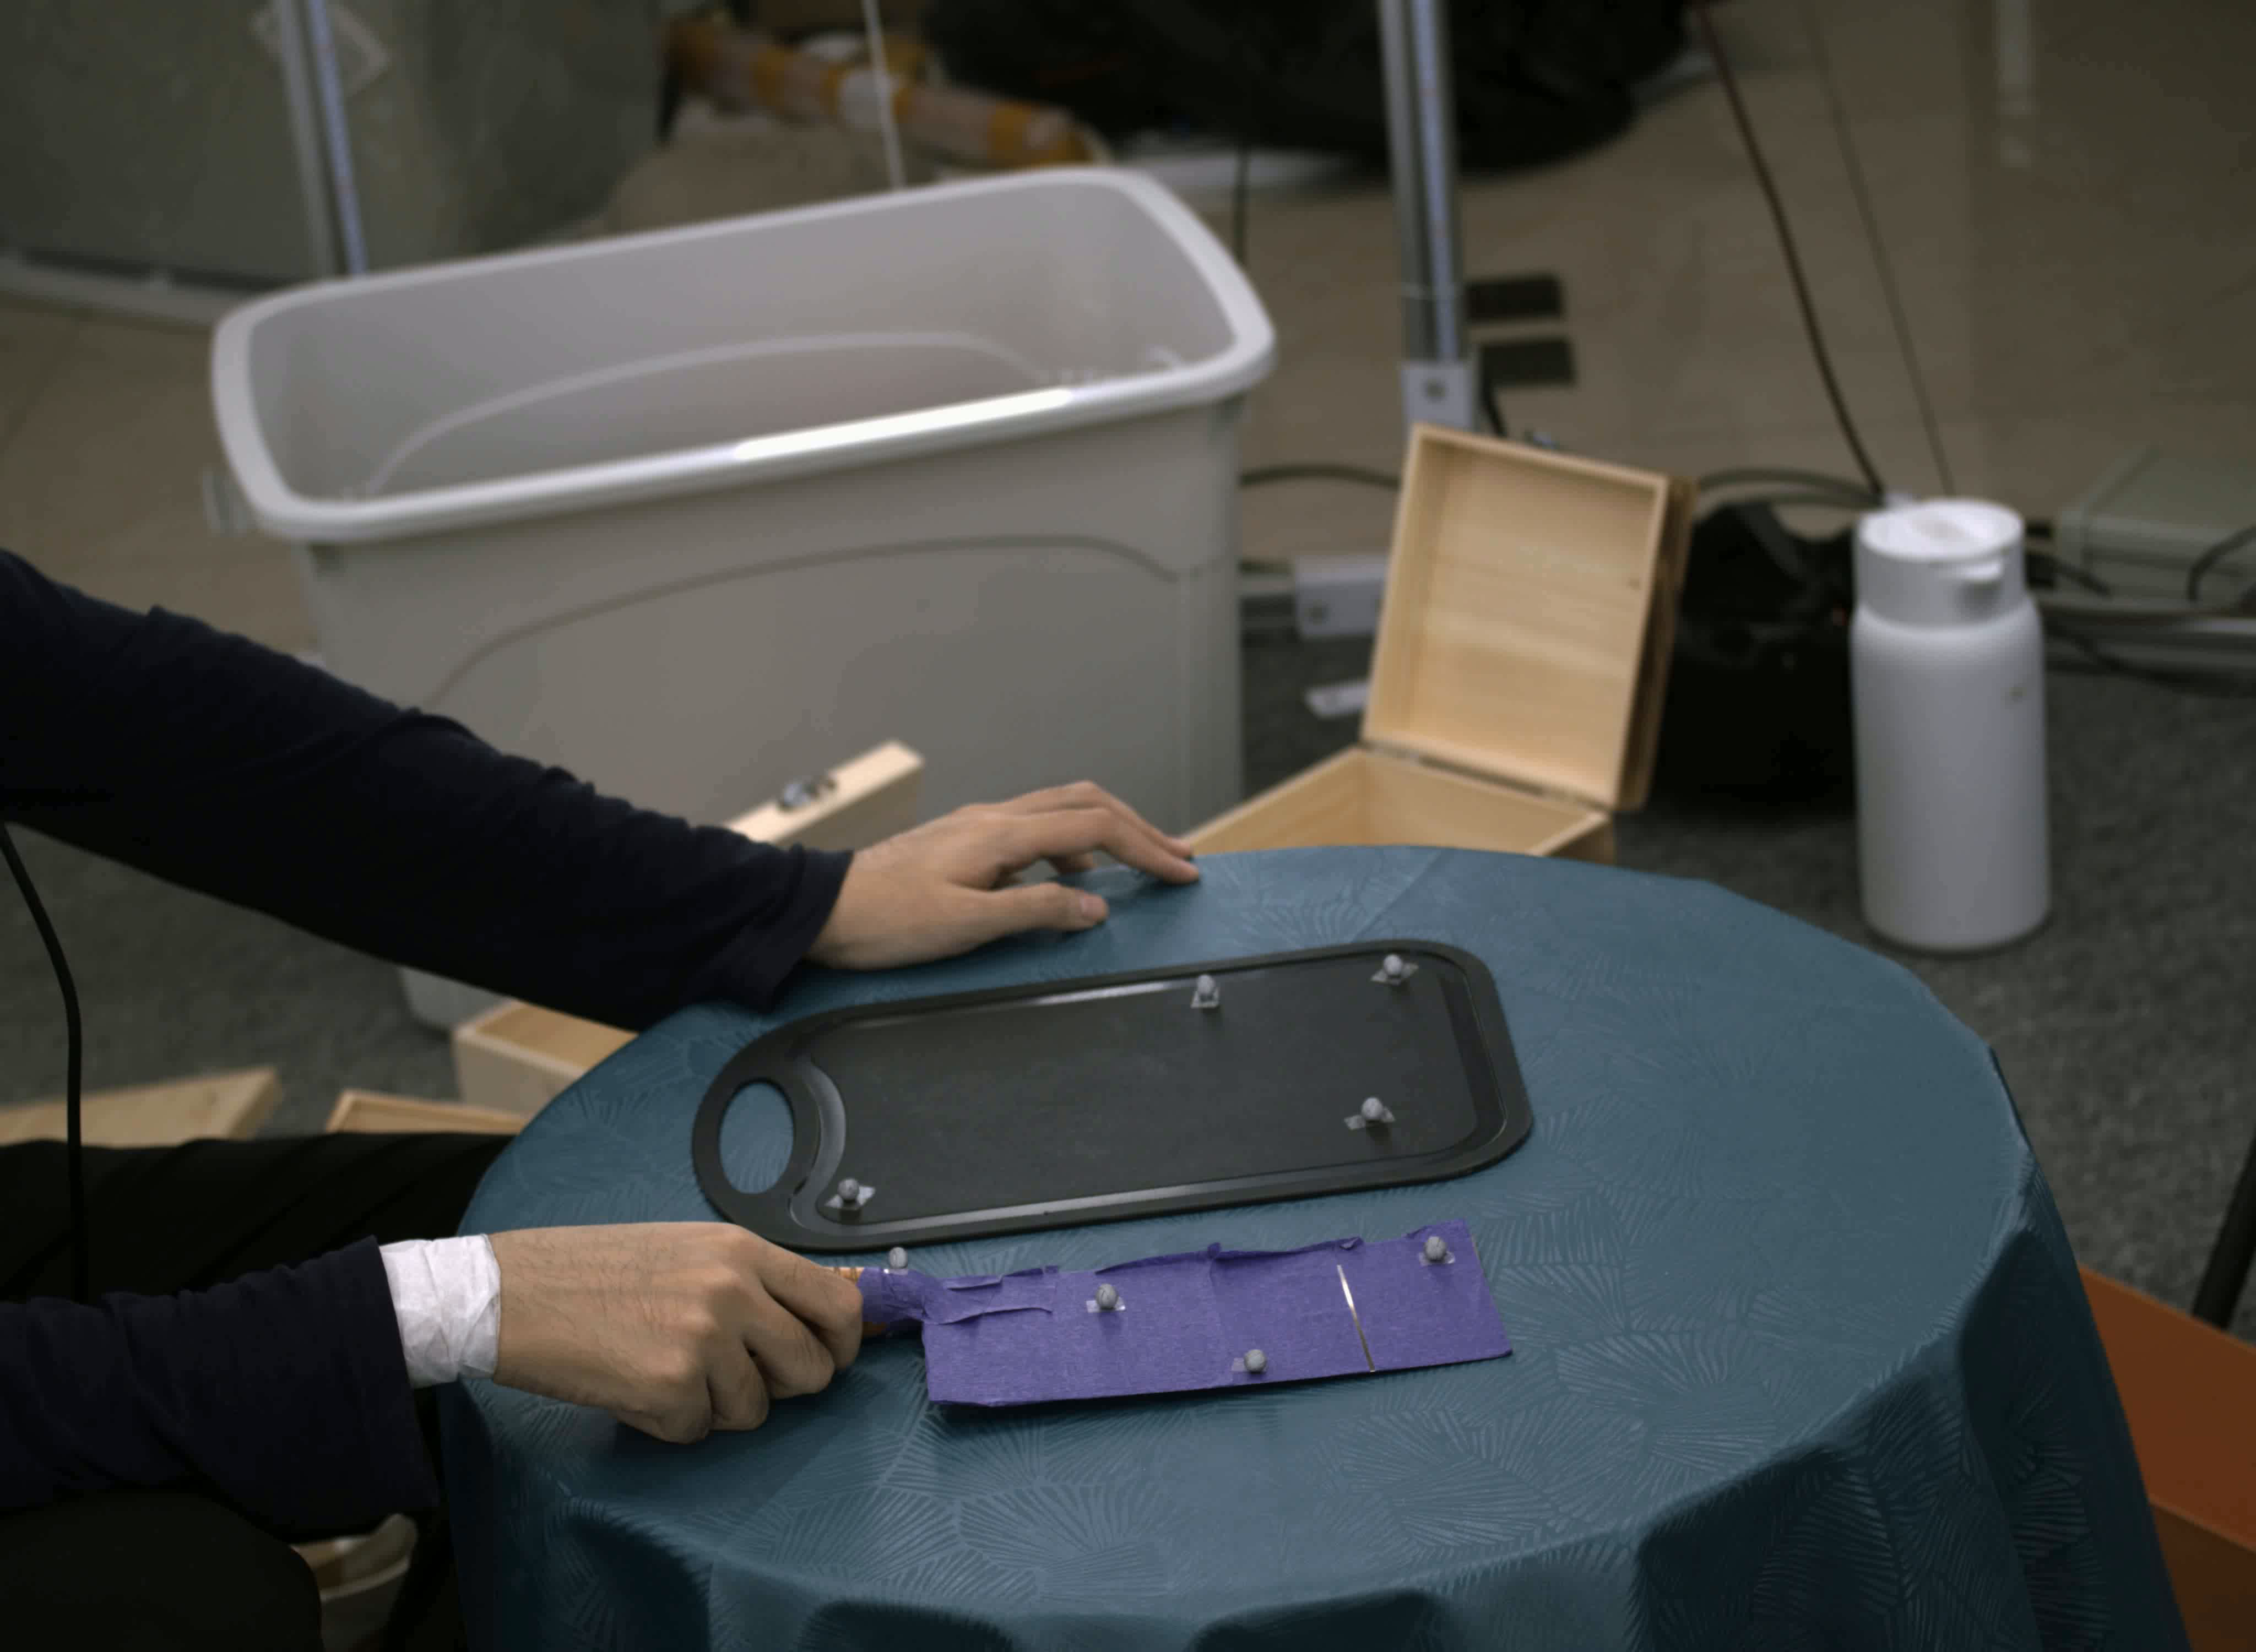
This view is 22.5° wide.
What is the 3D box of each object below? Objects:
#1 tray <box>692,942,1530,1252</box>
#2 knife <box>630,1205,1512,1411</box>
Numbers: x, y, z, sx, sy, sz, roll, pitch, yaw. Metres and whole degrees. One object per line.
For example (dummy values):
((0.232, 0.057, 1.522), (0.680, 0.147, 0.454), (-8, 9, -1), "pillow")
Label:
((-0.010, 0.104, 2.222), (0.325, 0.010, 0.208), (-7, 24, 0), "tray")
((-0.022, 0.177, 2.042), (0.315, 0.033, 0.102), (-7, 25, -3), "knife")
